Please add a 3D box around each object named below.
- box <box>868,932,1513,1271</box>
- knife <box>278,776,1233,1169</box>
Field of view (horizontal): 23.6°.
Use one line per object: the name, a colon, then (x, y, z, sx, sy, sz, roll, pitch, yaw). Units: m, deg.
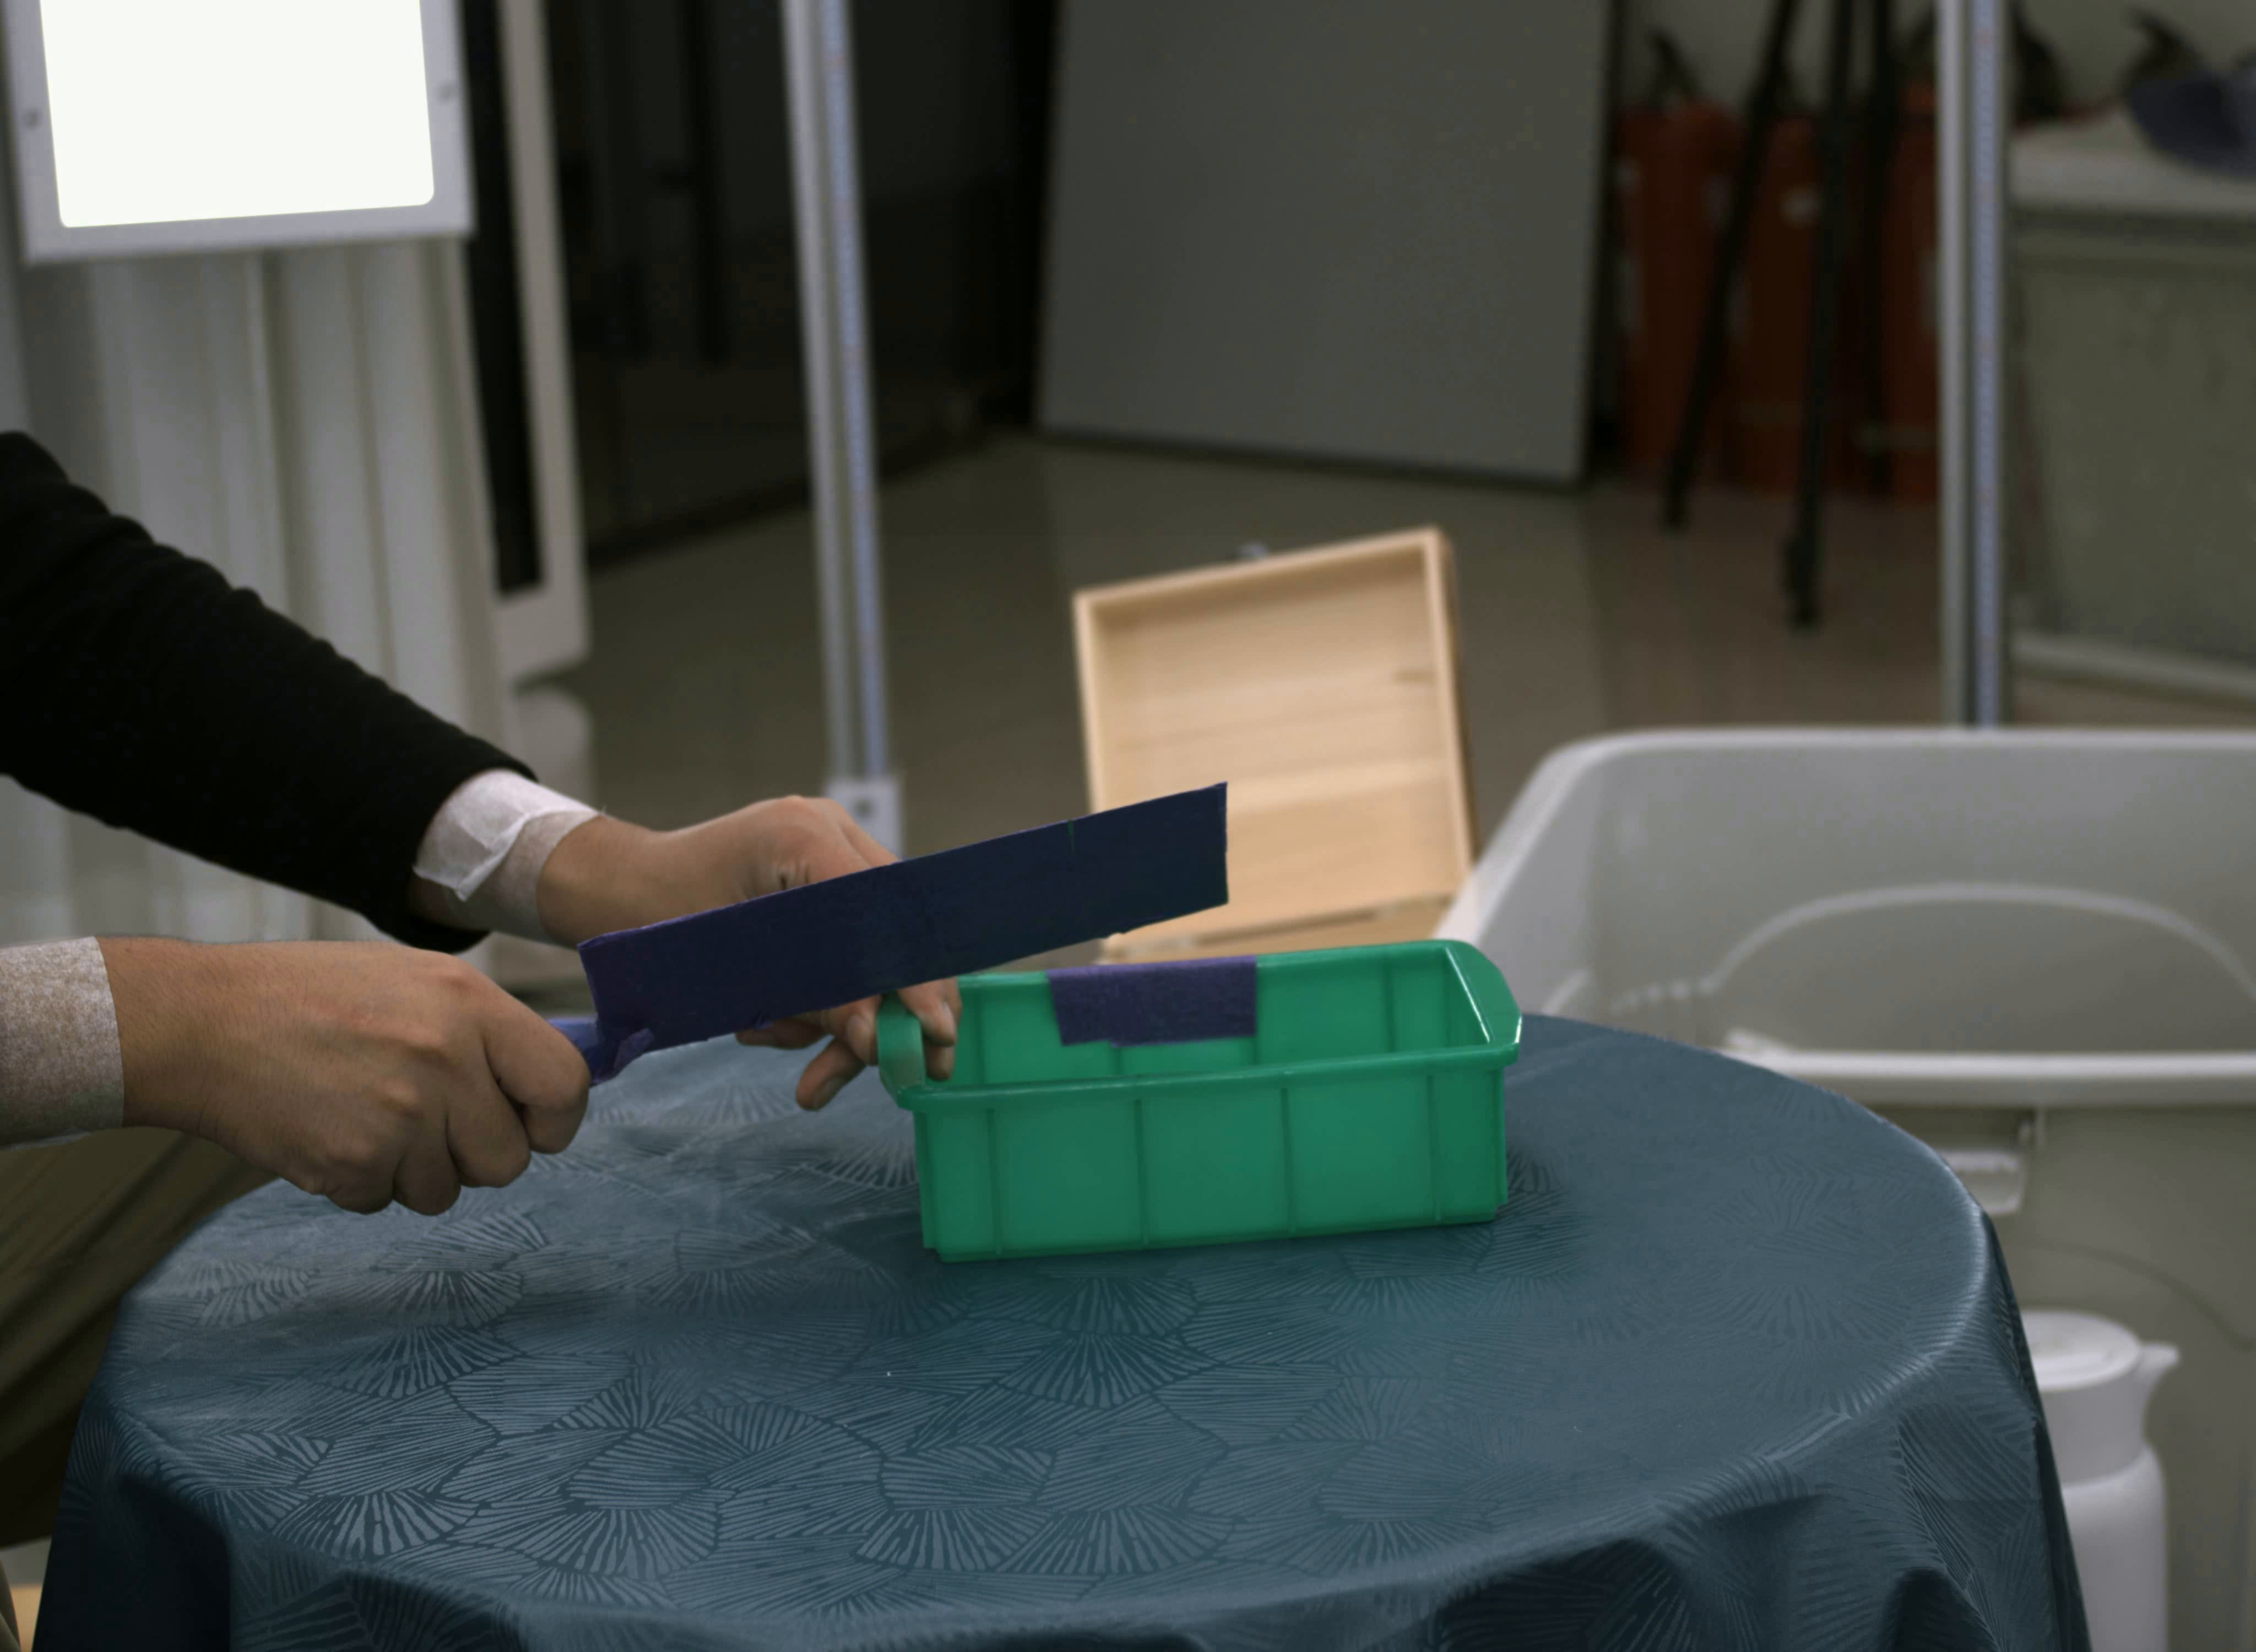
box: (0.022, 0.090, 1.760, 0.207, 0.066, 0.139, -7, 12, -2)
knife: (-0.117, 0.039, 1.694, 0.311, 0.032, 0.104, -16, -27, -5)
